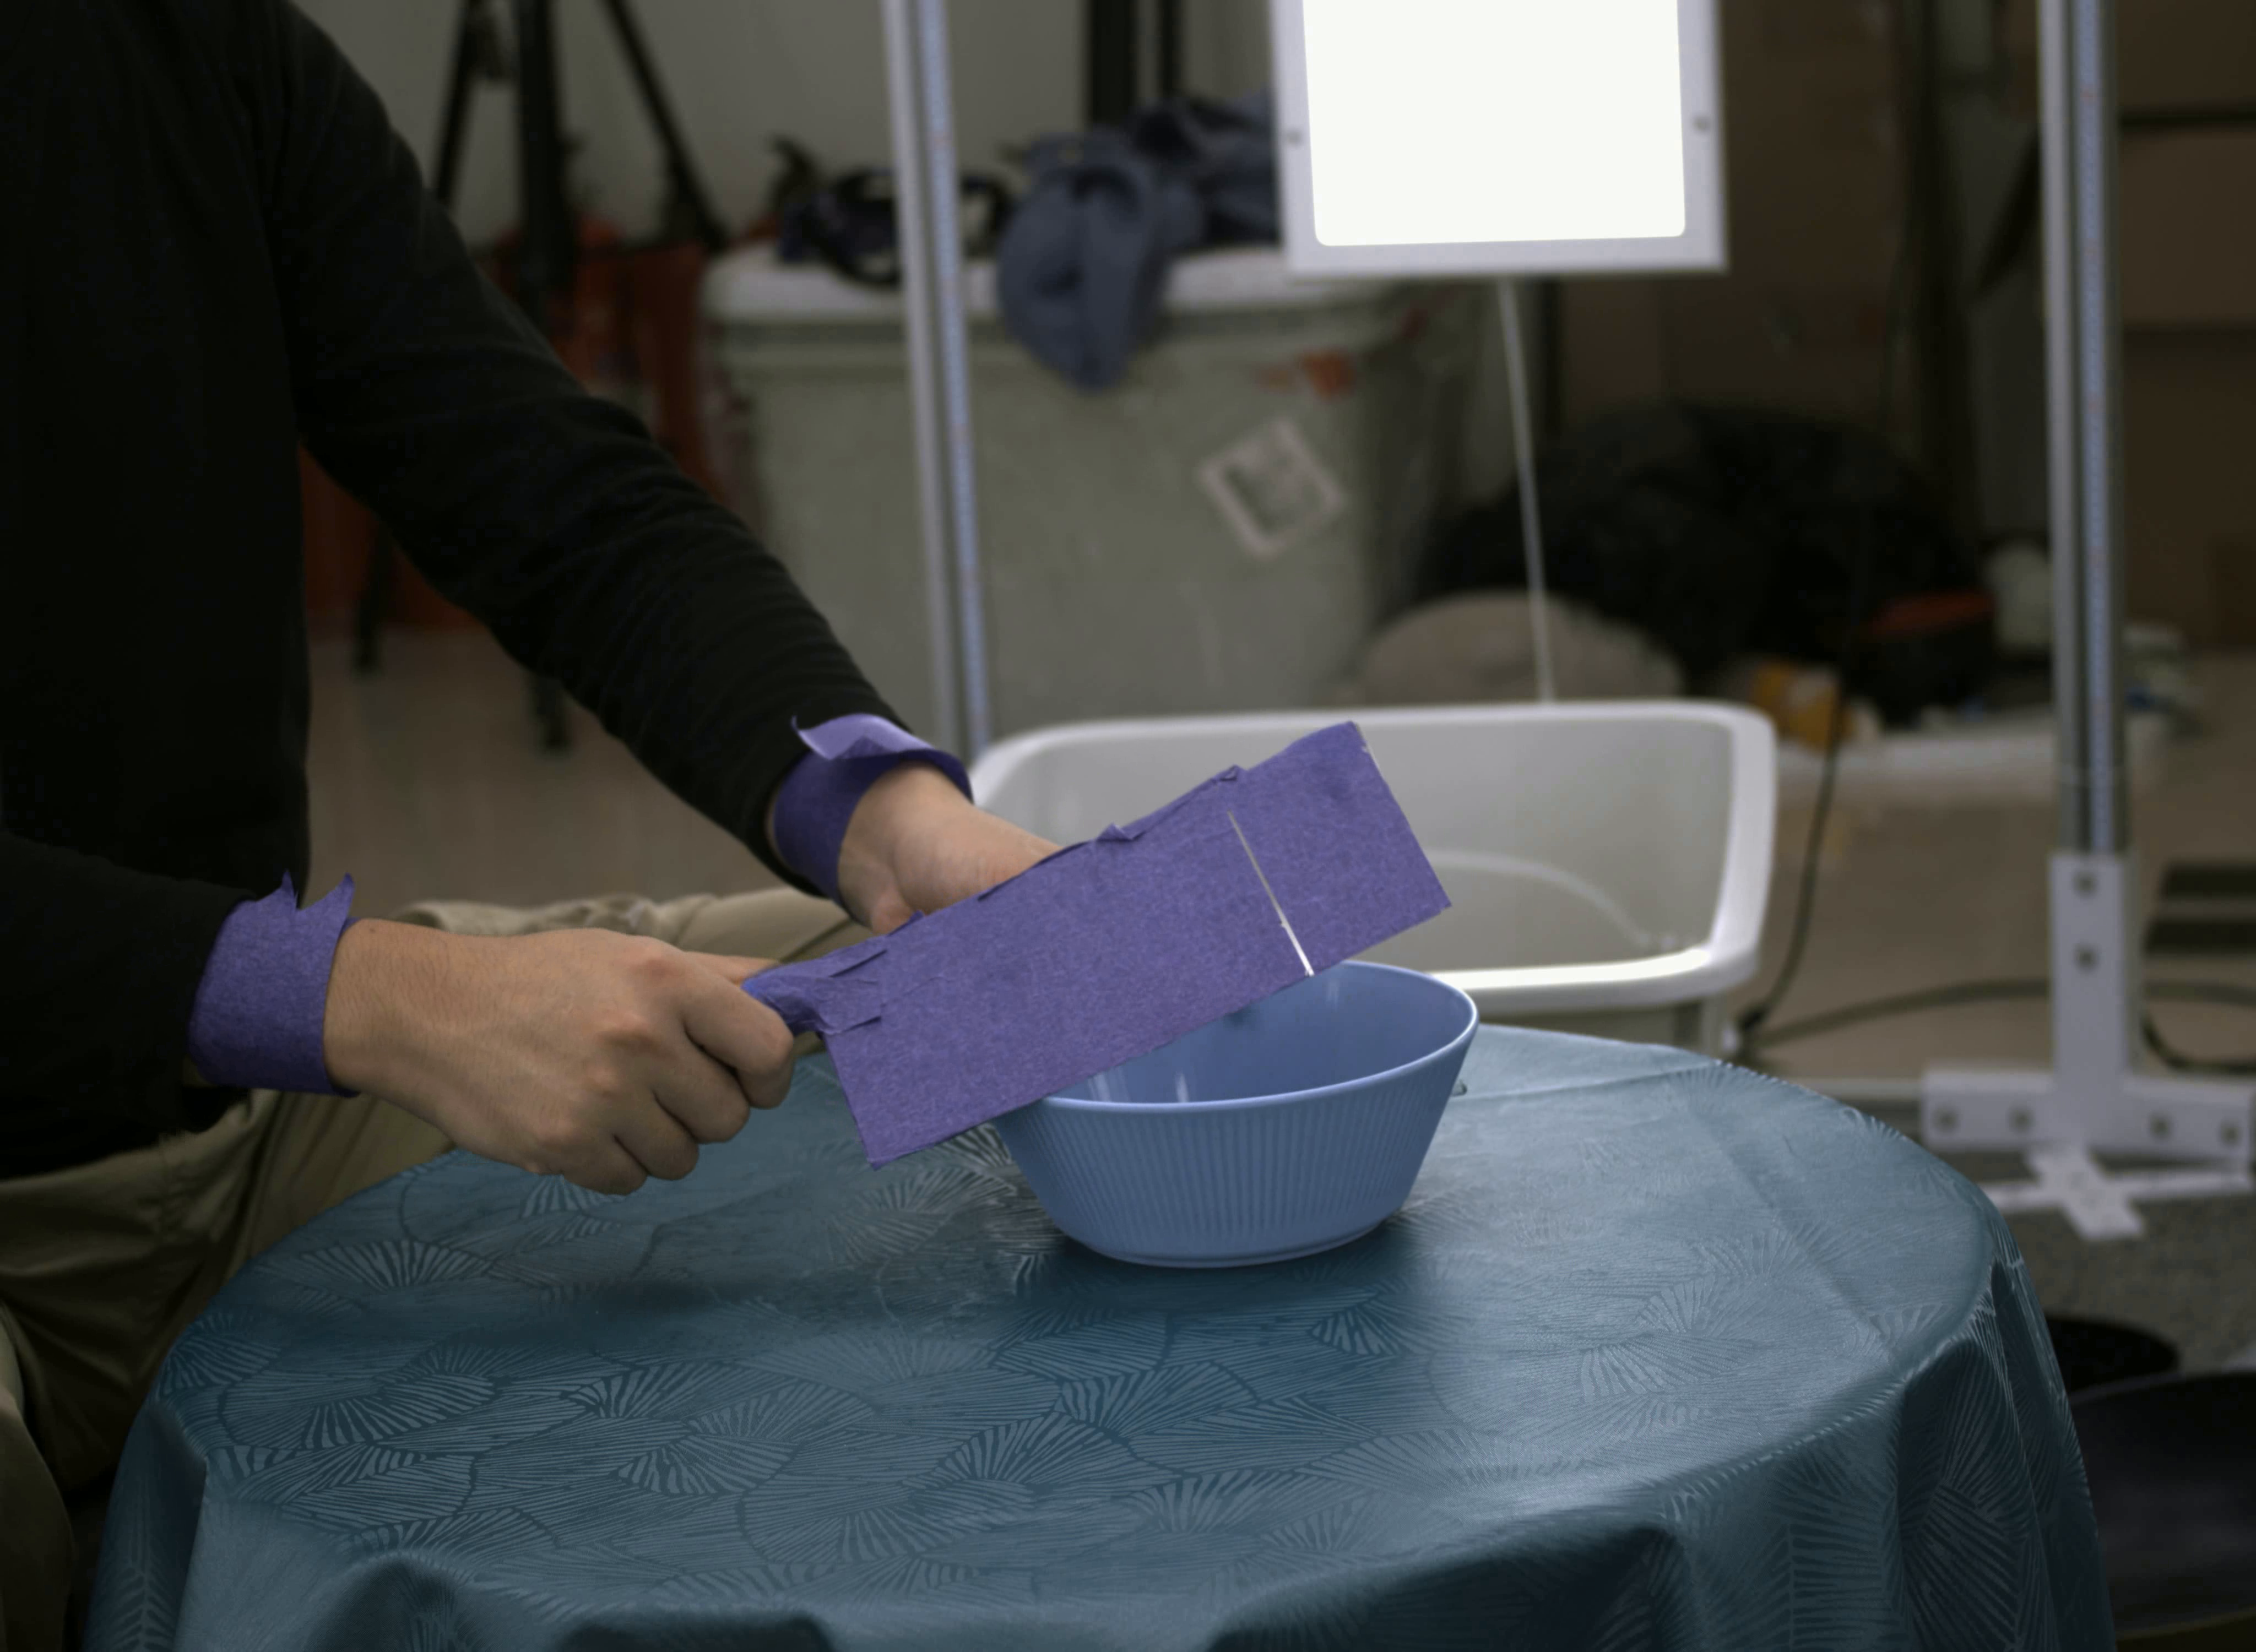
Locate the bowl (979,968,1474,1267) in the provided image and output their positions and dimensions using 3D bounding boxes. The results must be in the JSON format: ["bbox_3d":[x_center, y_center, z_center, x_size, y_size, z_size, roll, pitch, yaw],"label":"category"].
[{"bbox_3d":[0.032,0.100,1.848,0.175,0.070,0.176,-6,12,0],"label":"bowl"}]

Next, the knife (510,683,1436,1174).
[{"bbox_3d":[-0.052,0.054,1.812,0.316,0.032,0.104,-27,49,5],"label":"knife"}]
